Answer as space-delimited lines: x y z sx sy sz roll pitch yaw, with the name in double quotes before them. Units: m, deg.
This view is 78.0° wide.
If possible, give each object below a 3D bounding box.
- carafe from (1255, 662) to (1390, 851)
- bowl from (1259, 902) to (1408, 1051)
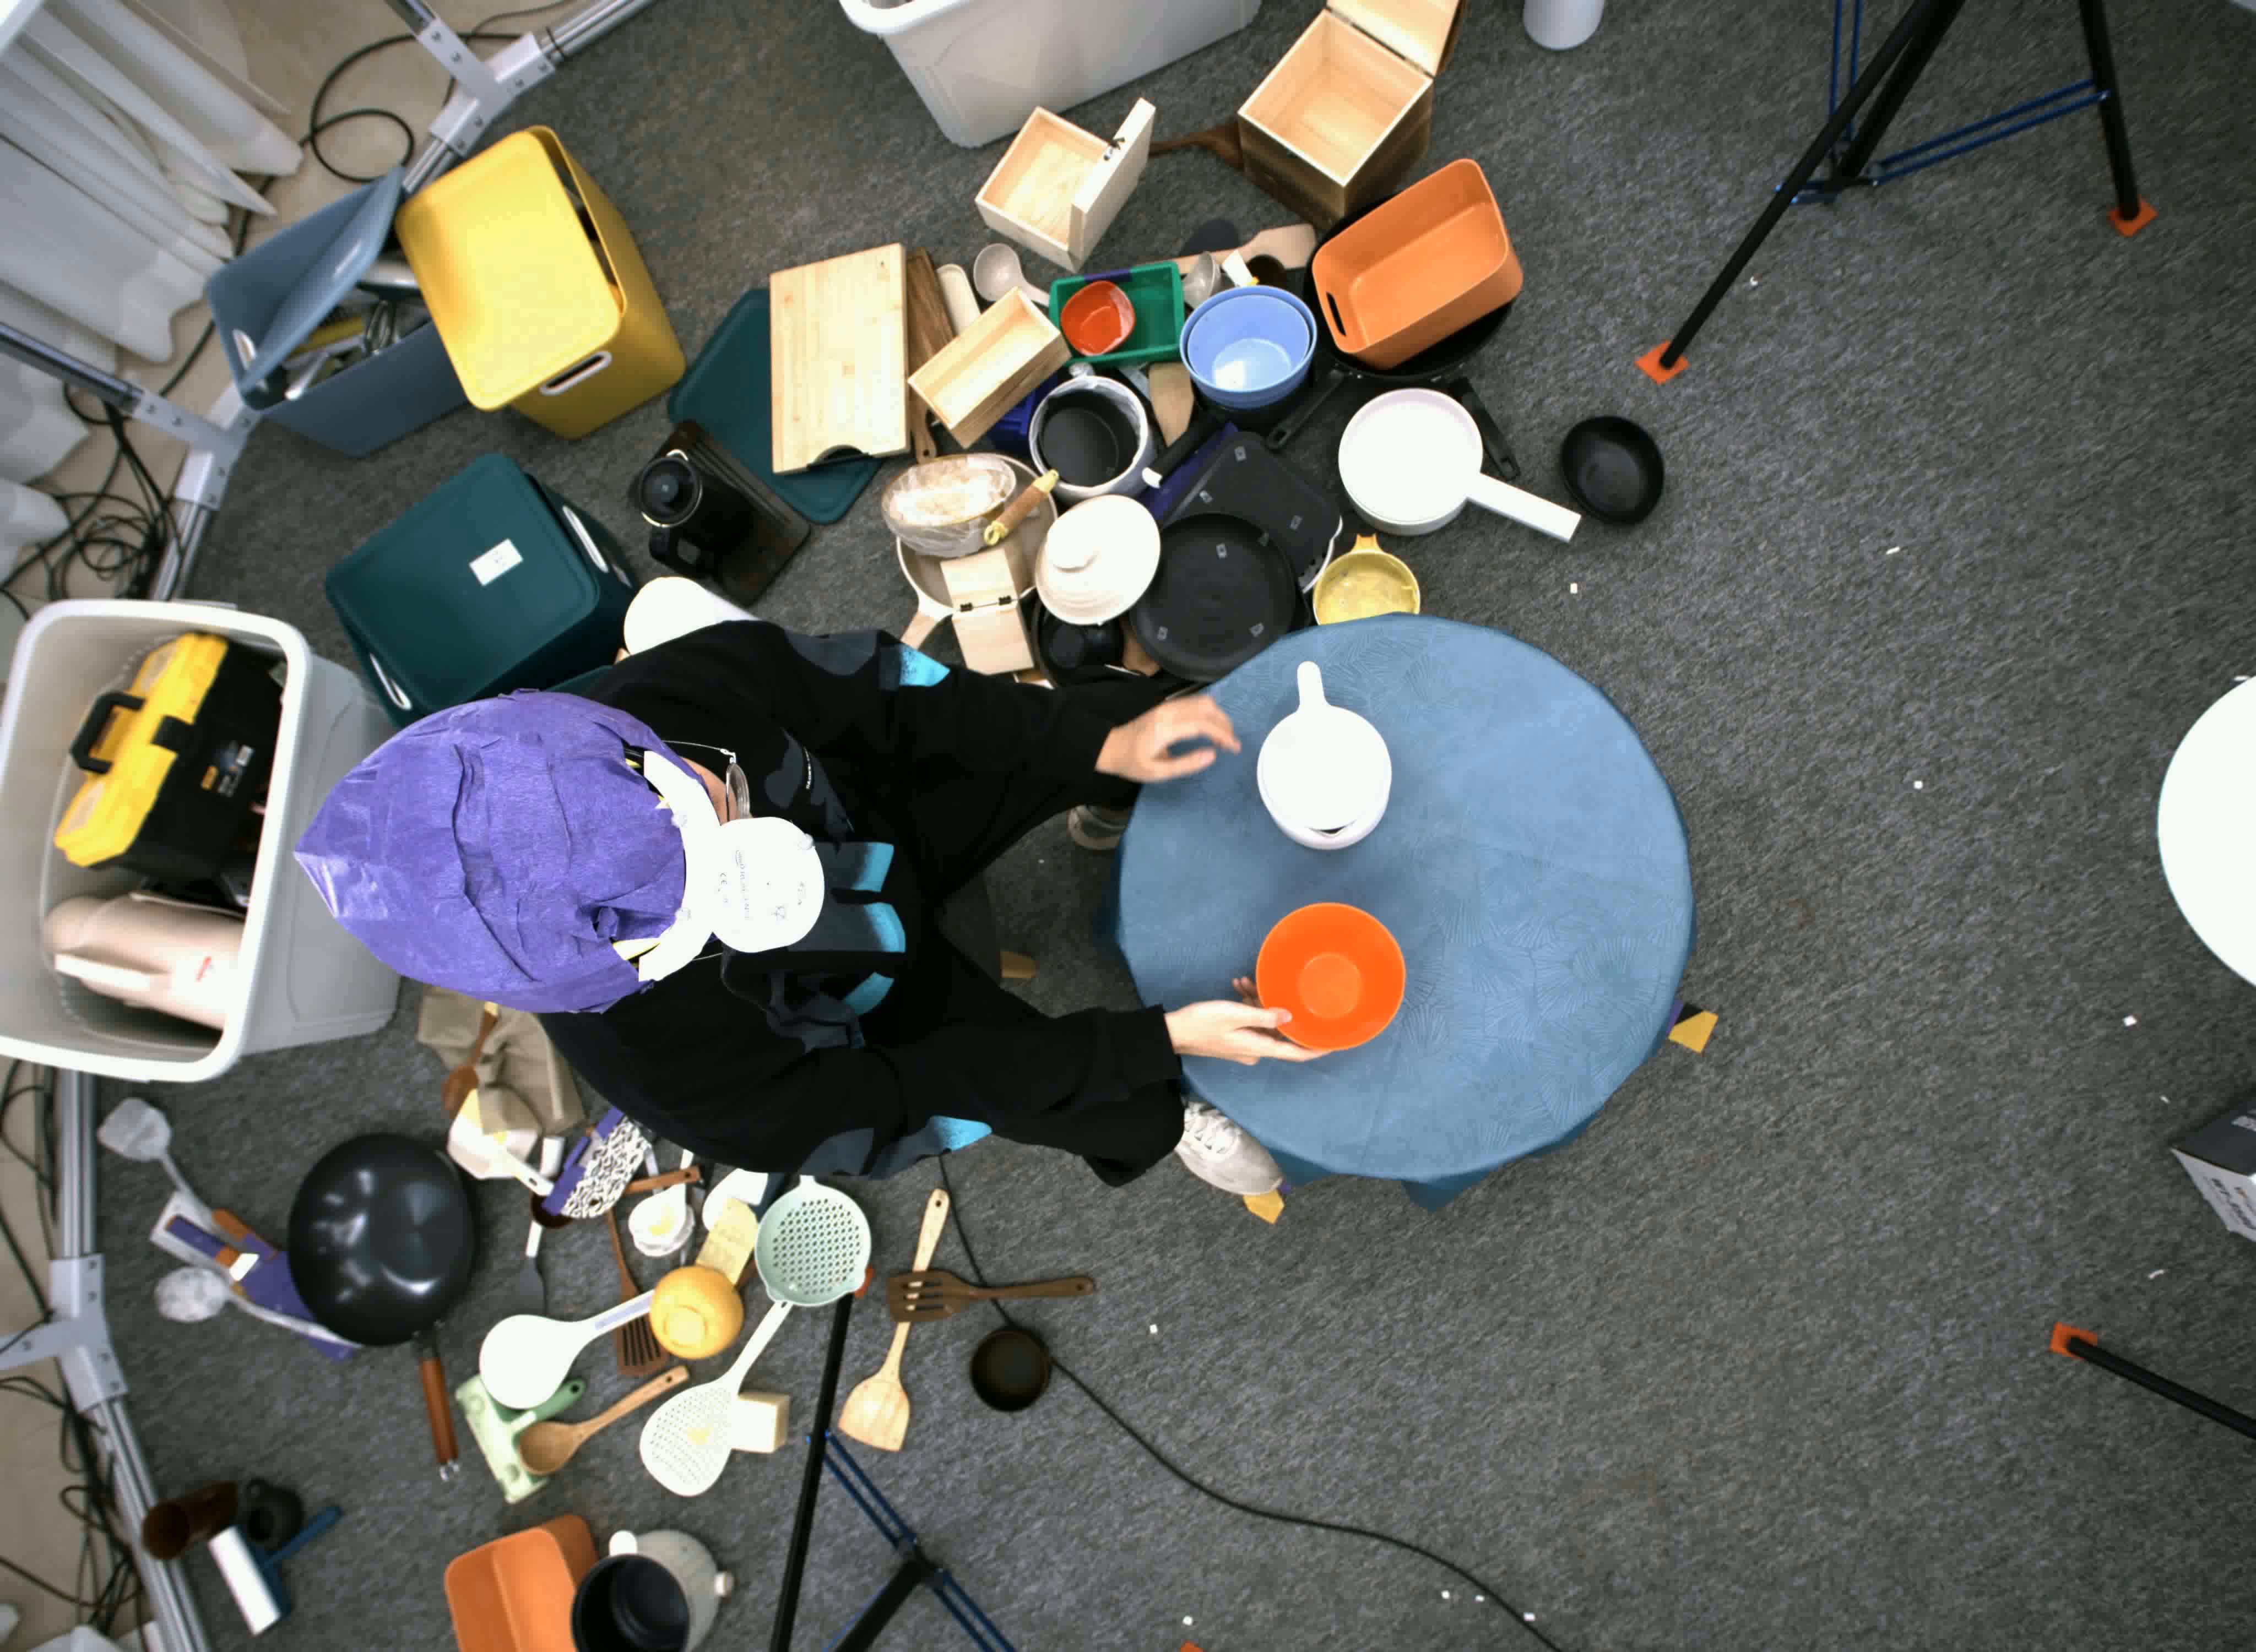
"carafe" 0.192 -0.071 1.391 0.133 0.183 0.189 -11 82 8
"bowl" 0.209 0.153 1.411 0.148 0.104 0.147 -1 87 10
